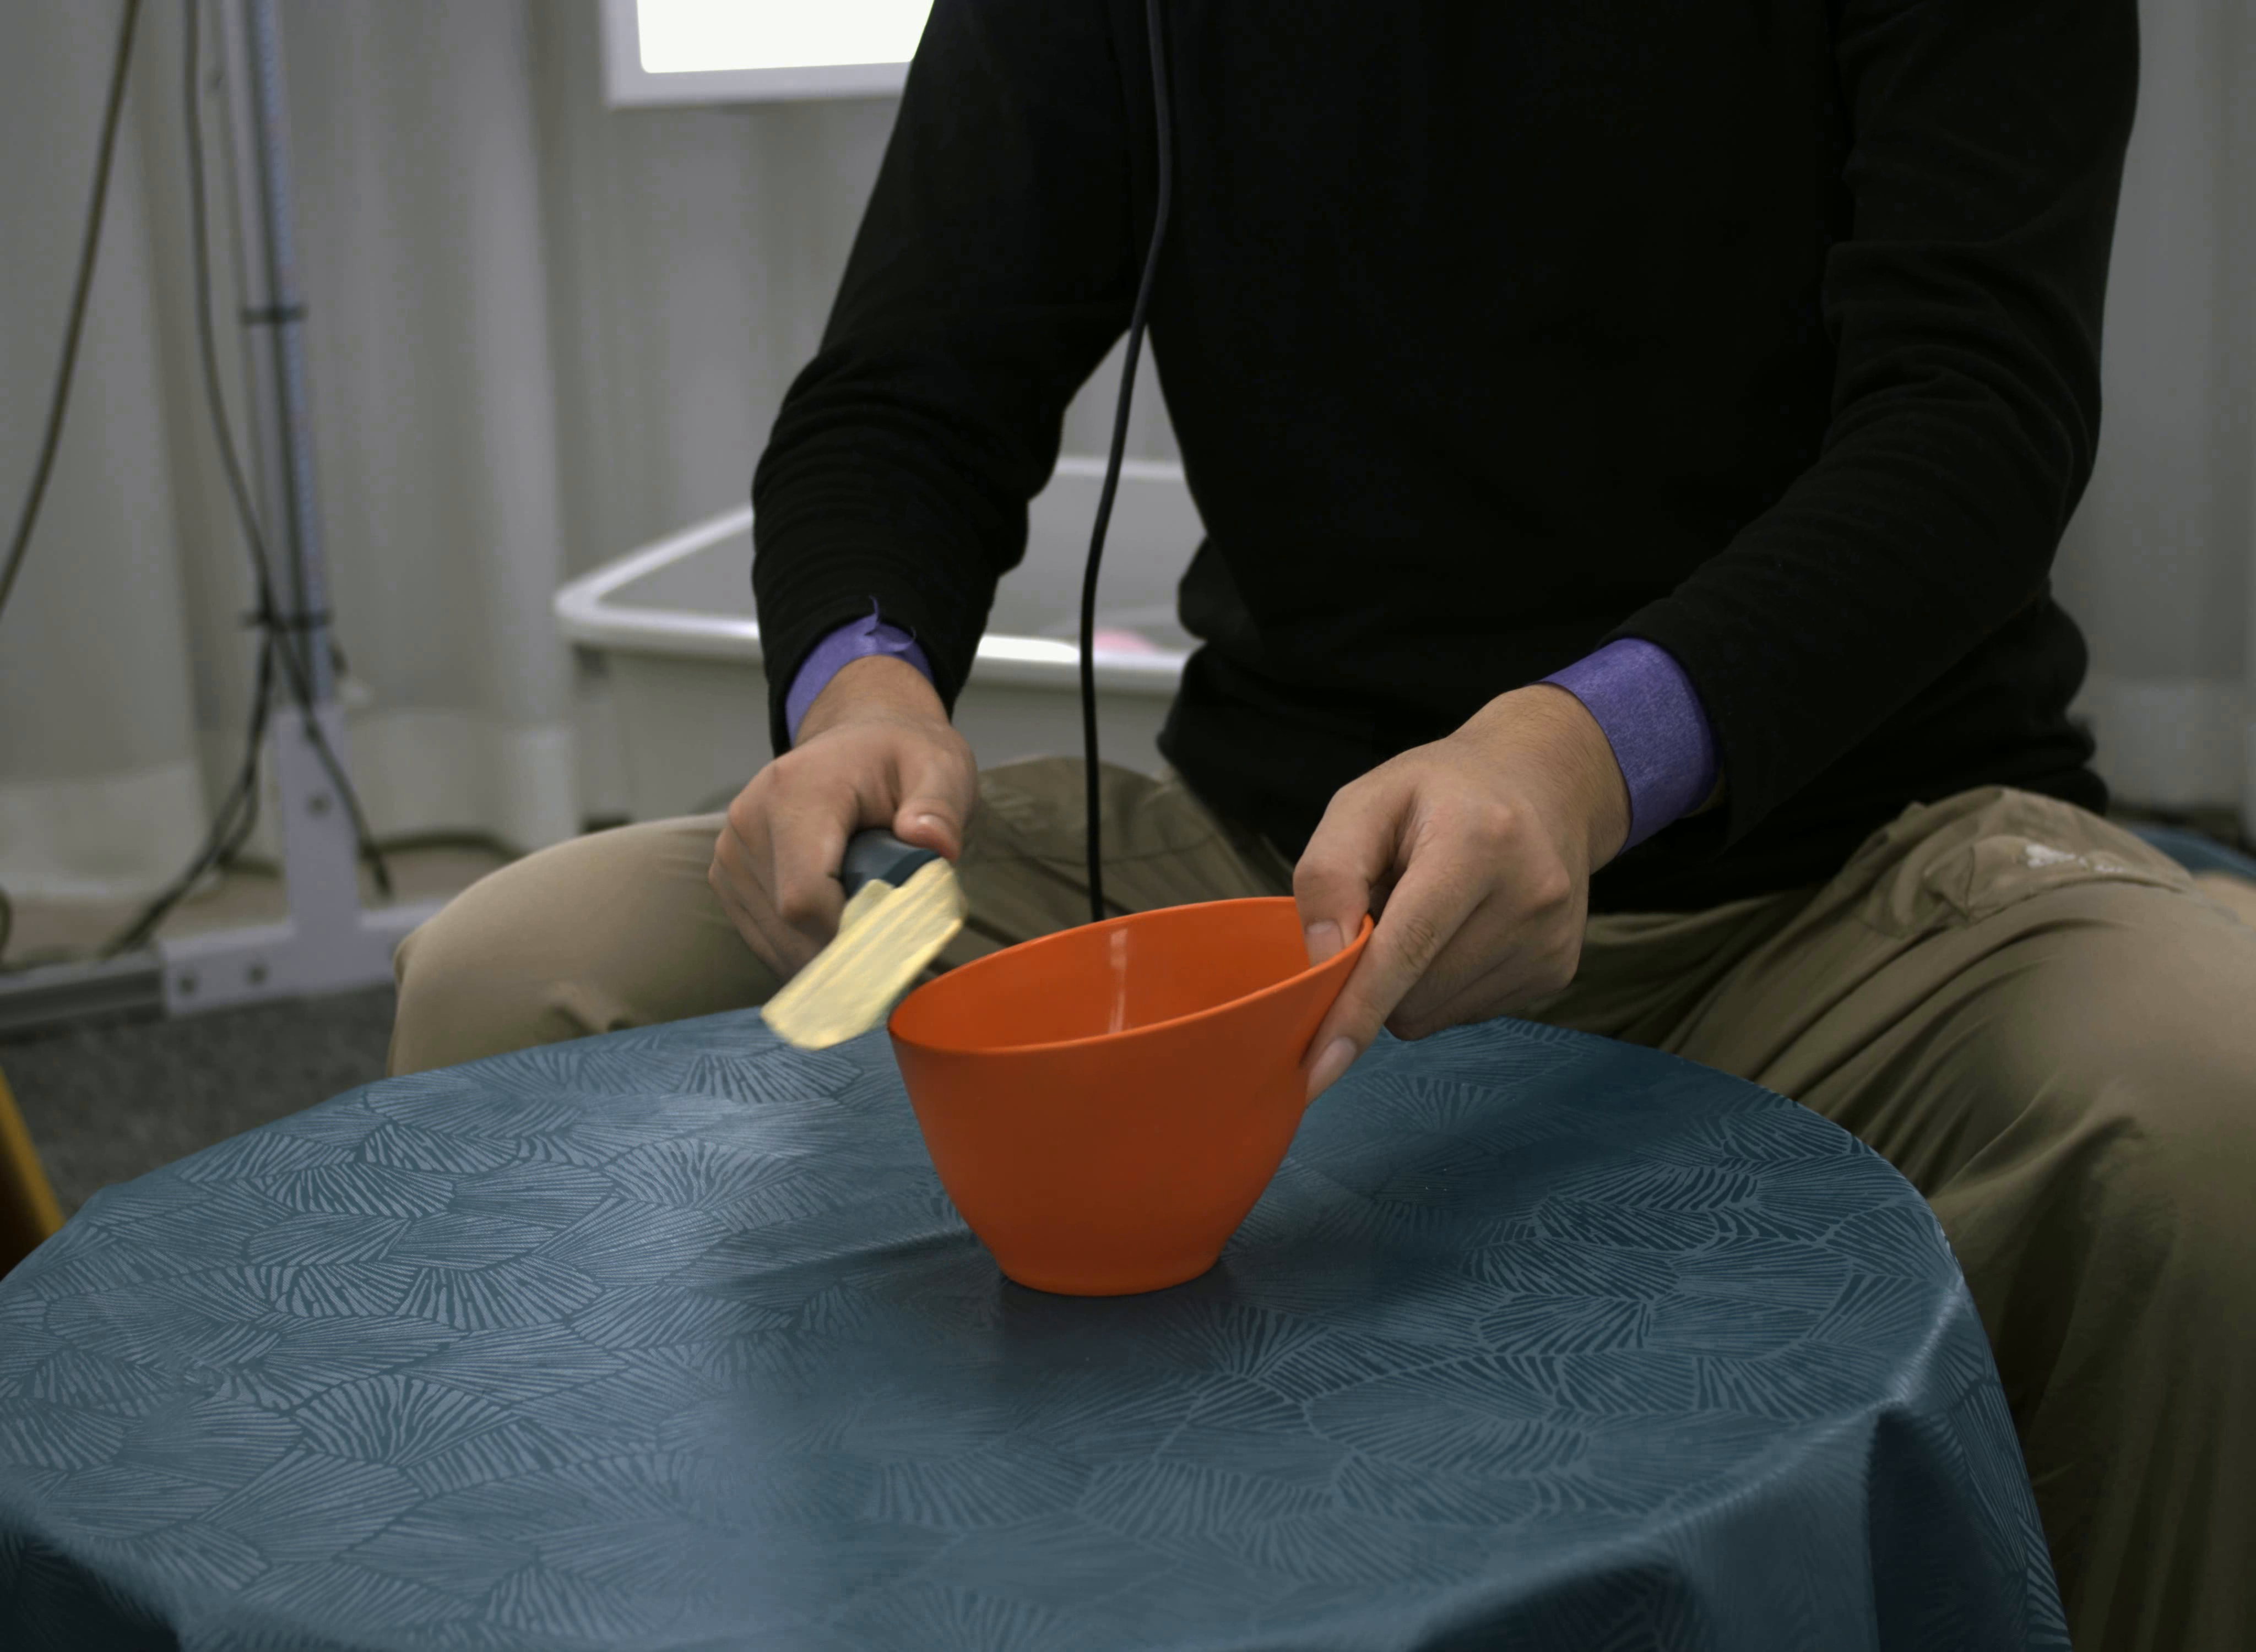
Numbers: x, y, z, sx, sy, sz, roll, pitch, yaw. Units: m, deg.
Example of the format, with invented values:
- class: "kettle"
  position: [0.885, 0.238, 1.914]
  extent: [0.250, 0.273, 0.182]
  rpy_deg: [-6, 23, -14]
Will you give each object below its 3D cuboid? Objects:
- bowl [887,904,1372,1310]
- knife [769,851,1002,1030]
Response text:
- class: "bowl"
  position: [0.003, 0.085, 1.635]
  extent: [0.147, 0.104, 0.149]
  rpy_deg: [-5, 14, 1]
- class: "knife"
  position: [-0.079, 0.036, 1.691]
  extent: [0.081, 0.027, 0.290]
  rpy_deg: [-40, 6, -3]
